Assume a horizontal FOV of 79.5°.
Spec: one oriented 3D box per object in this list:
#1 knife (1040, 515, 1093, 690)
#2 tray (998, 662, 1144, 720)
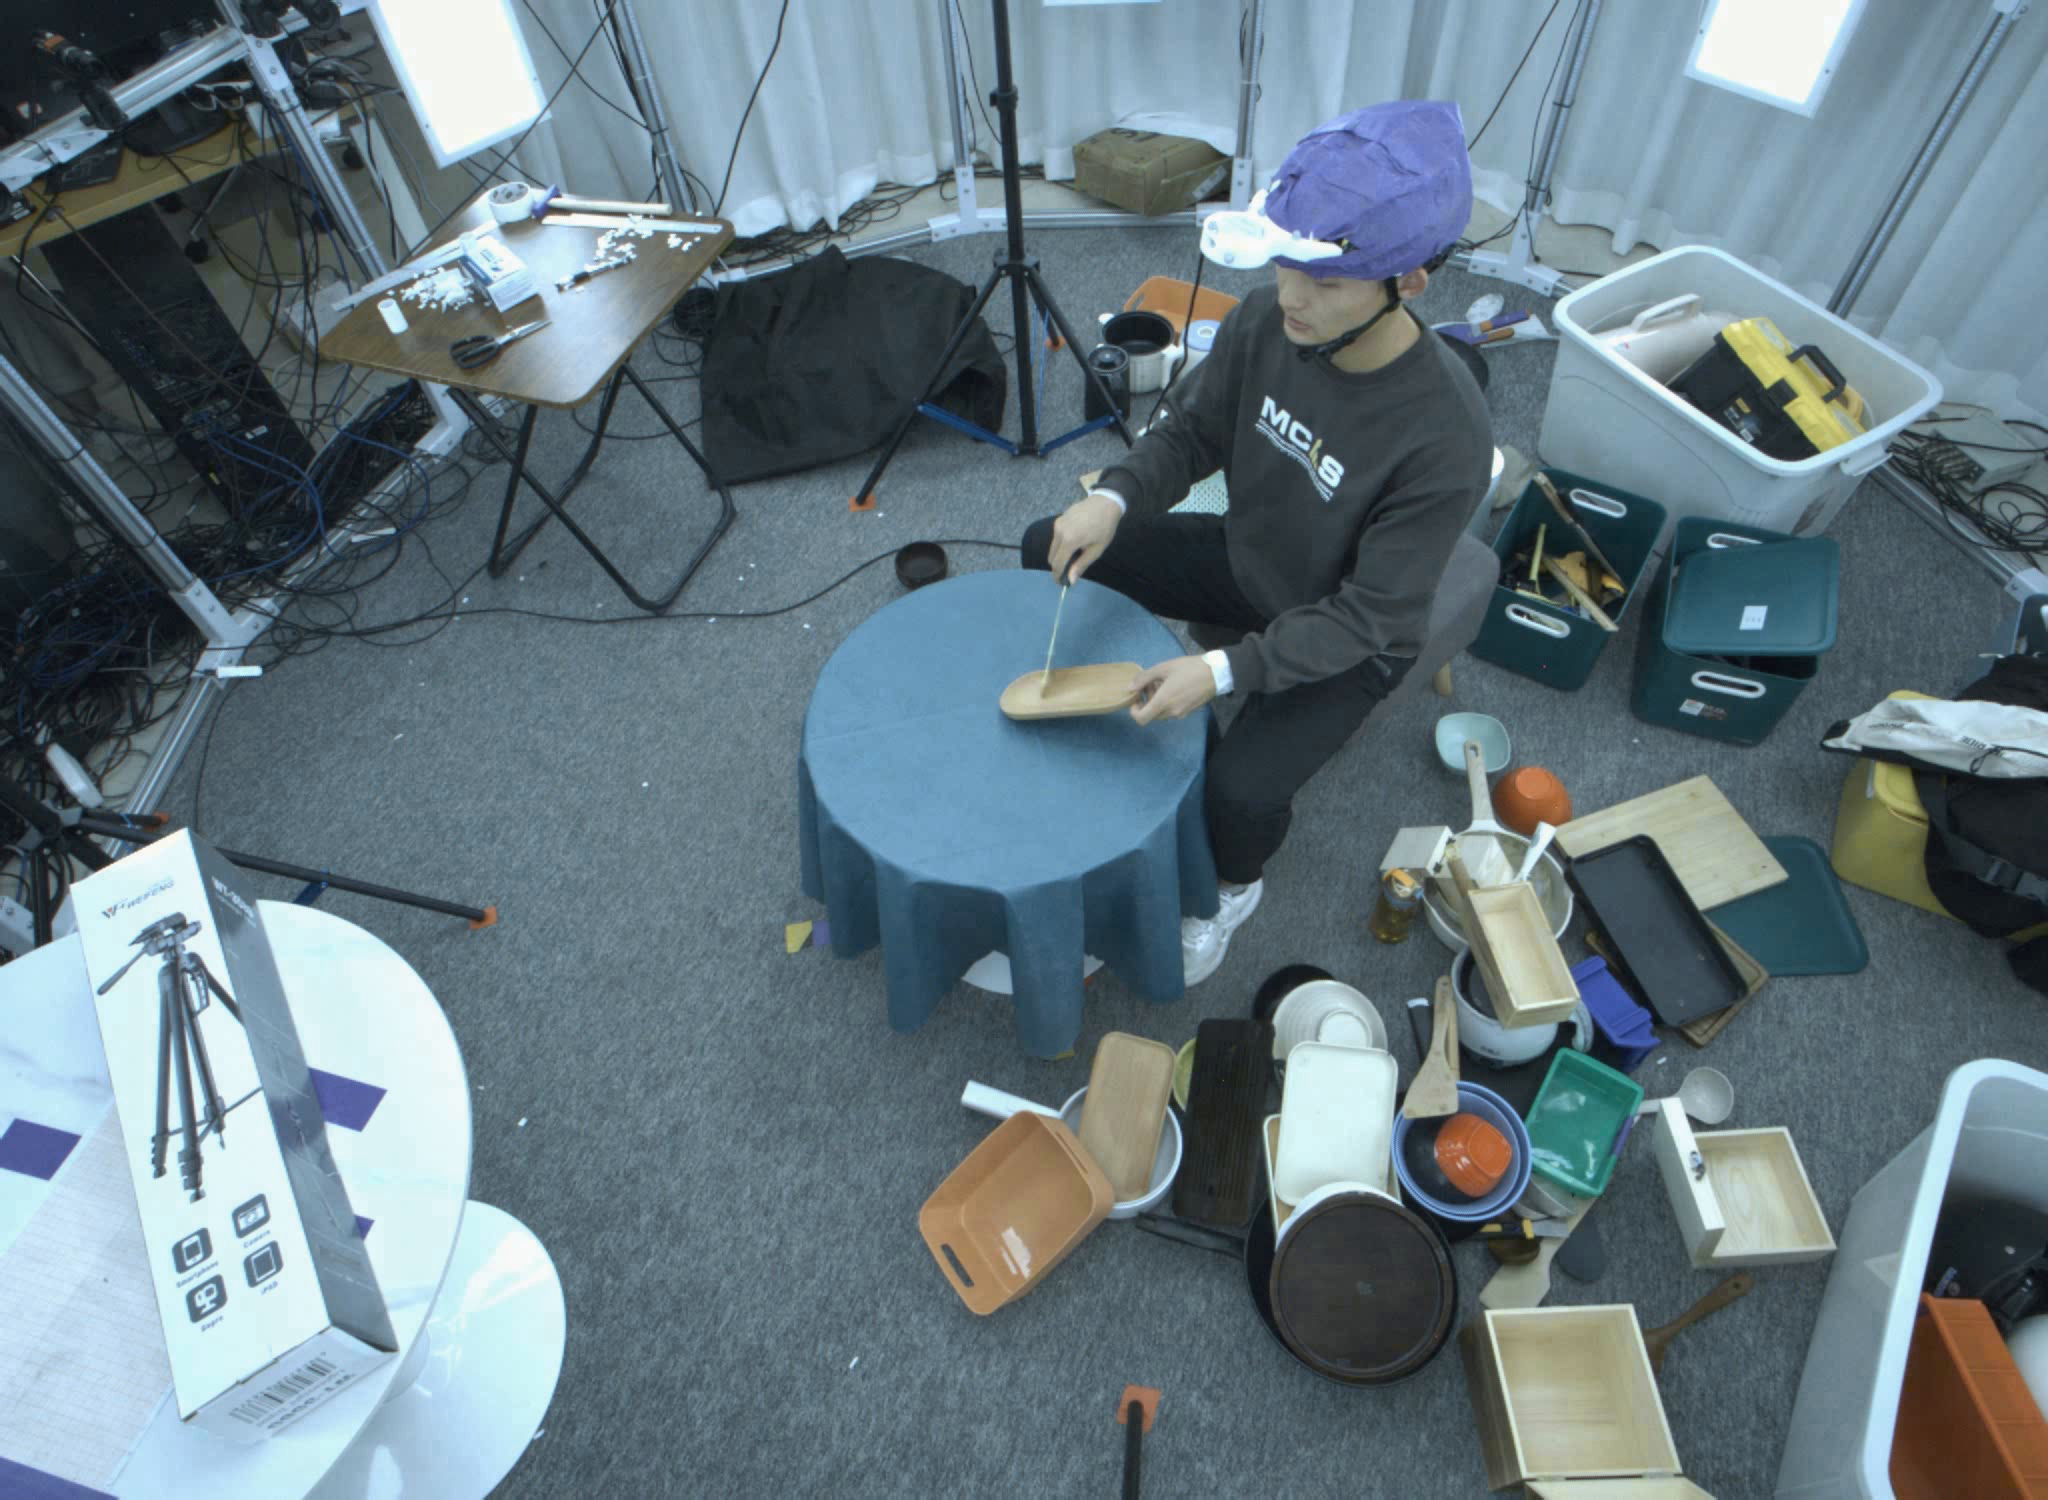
[{"bbox_3d":[0.059,-0.221,1.839,0.027,0.081,0.288,15,73,-1],"label":"knife"},{"bbox_3d":[0.067,-0.085,1.794,0.227,0.020,0.101,-5,39,28],"label":"tray"}]
